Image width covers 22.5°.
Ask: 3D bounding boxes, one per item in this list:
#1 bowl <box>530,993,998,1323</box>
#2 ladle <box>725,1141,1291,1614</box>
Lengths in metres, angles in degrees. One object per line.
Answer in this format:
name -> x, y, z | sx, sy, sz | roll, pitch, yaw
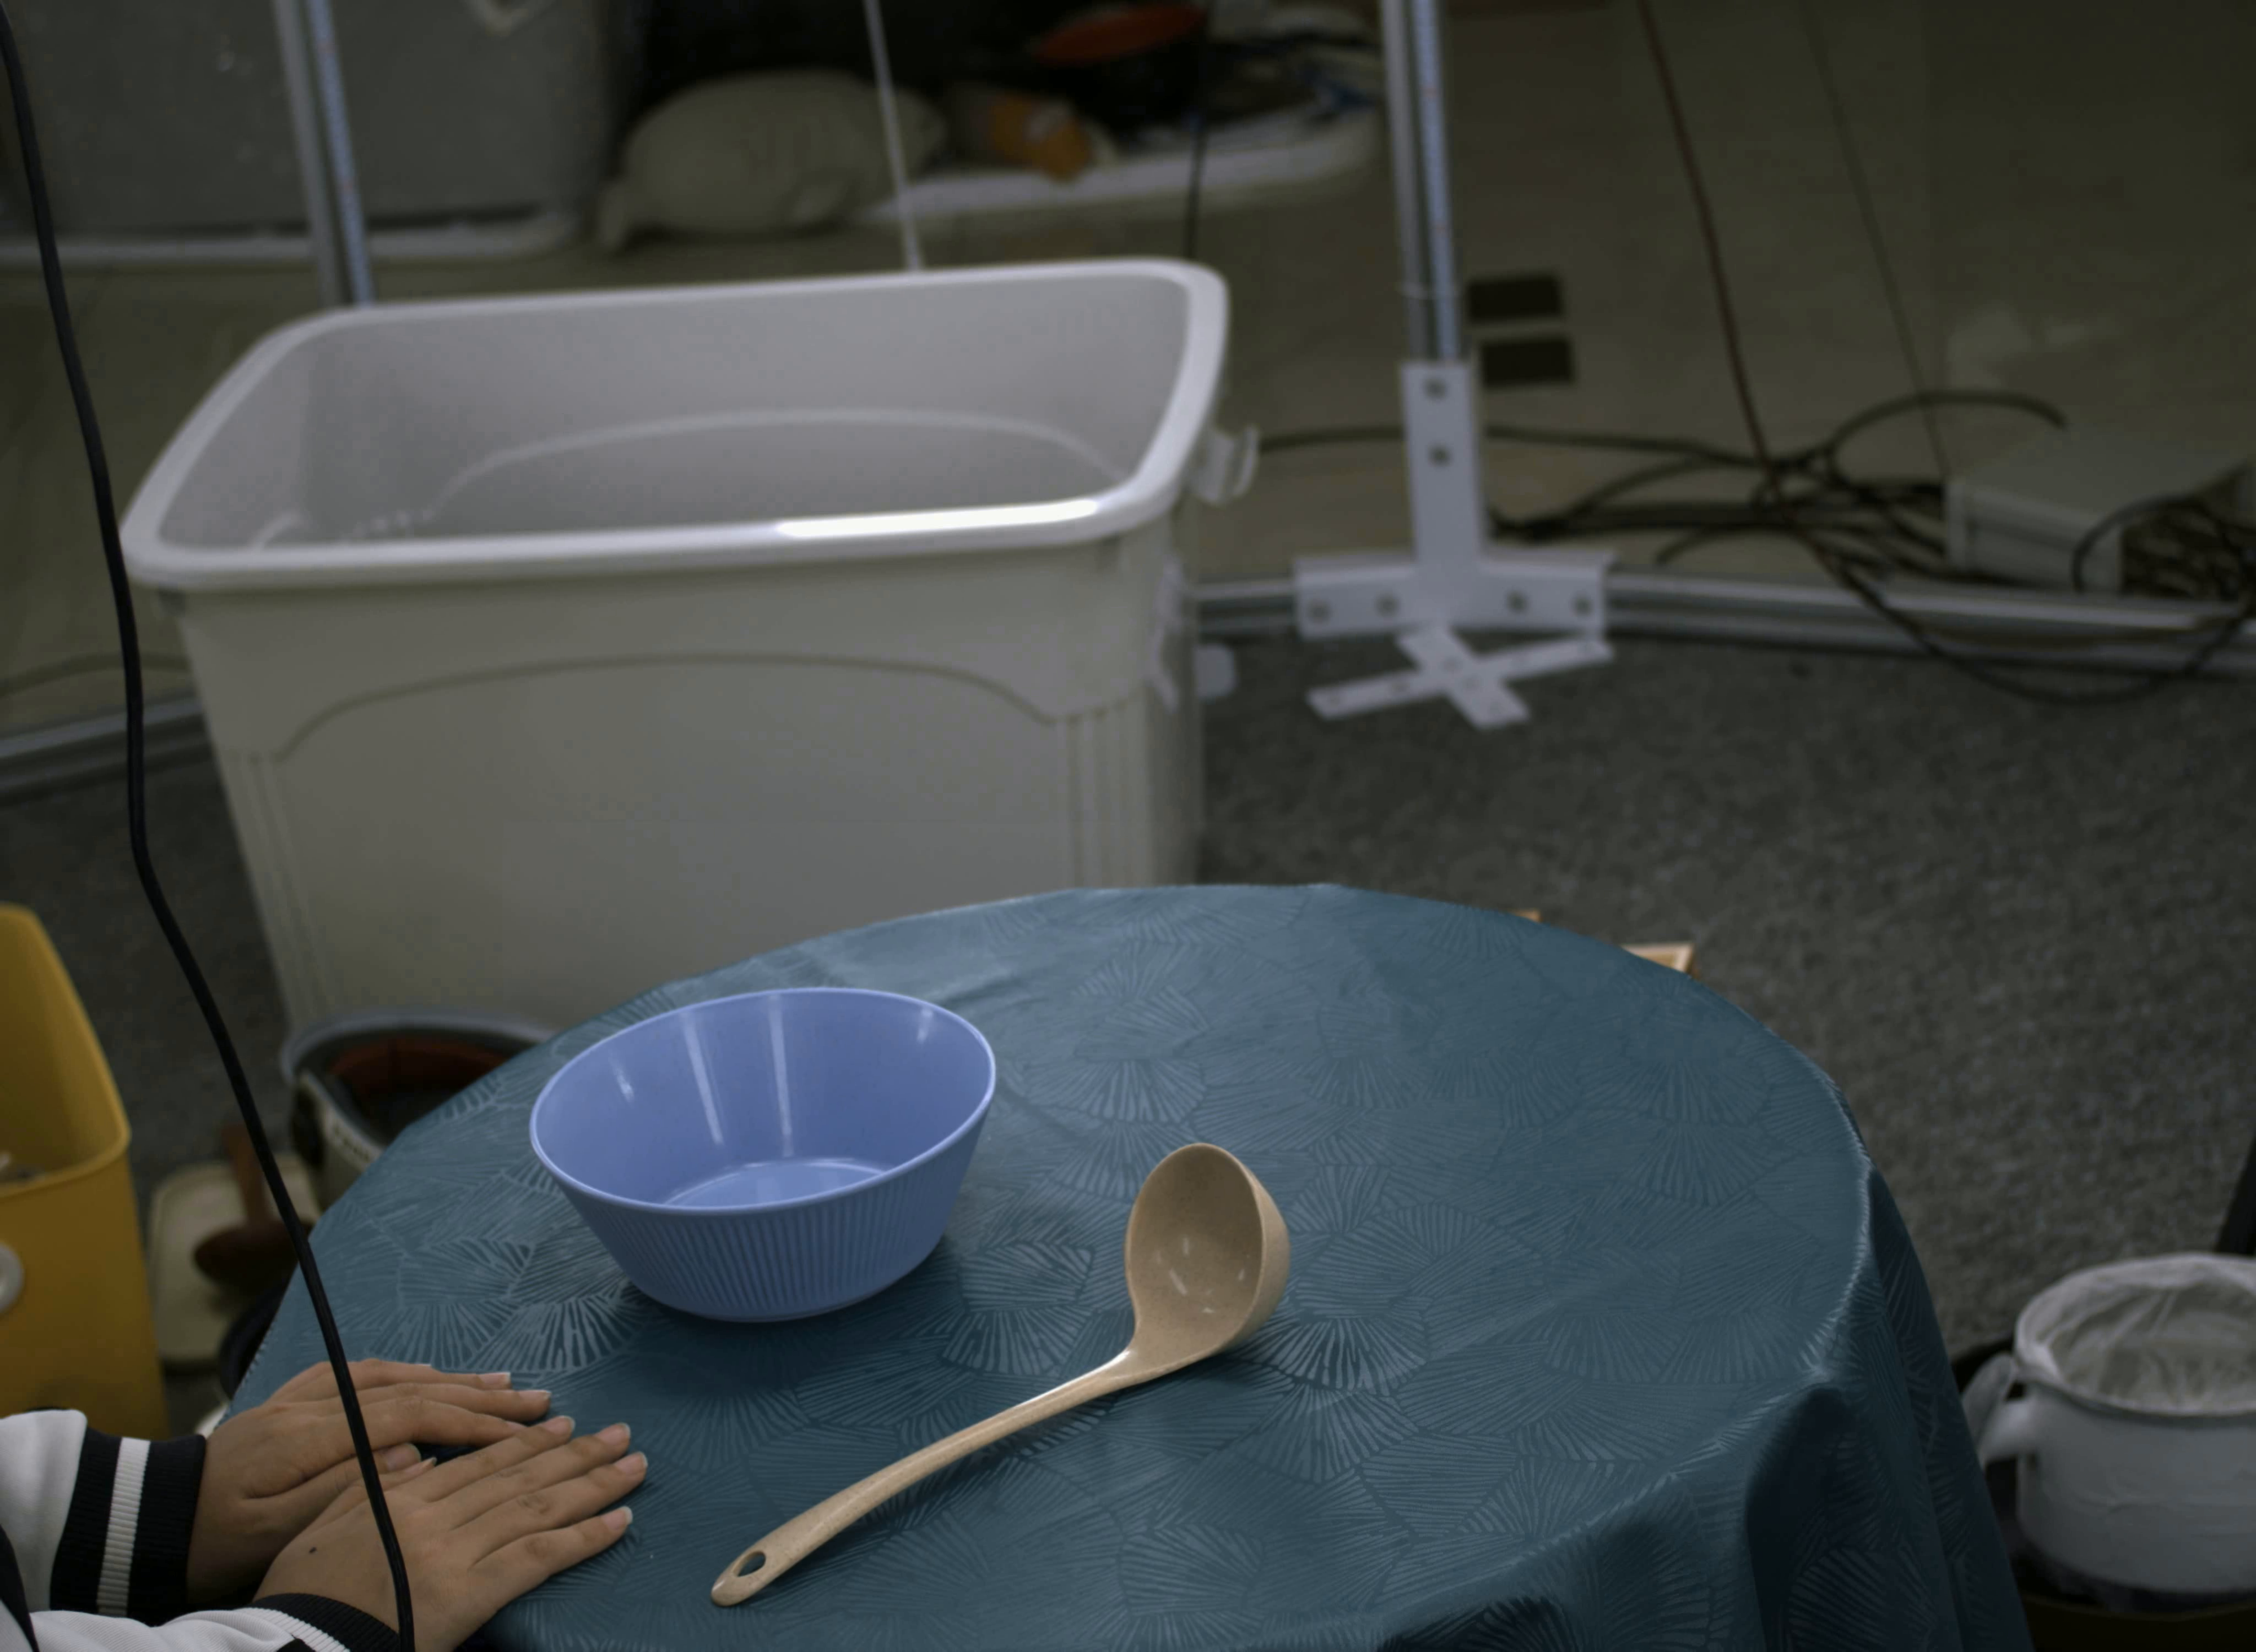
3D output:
bowl -> -0.132, 0.130, 2.117 | 0.176, 0.071, 0.173 | -6, 24, 3
ladle -> -0.046, 0.187, 1.970 | 0.252, 0.074, 0.071 | -26, 32, -36
